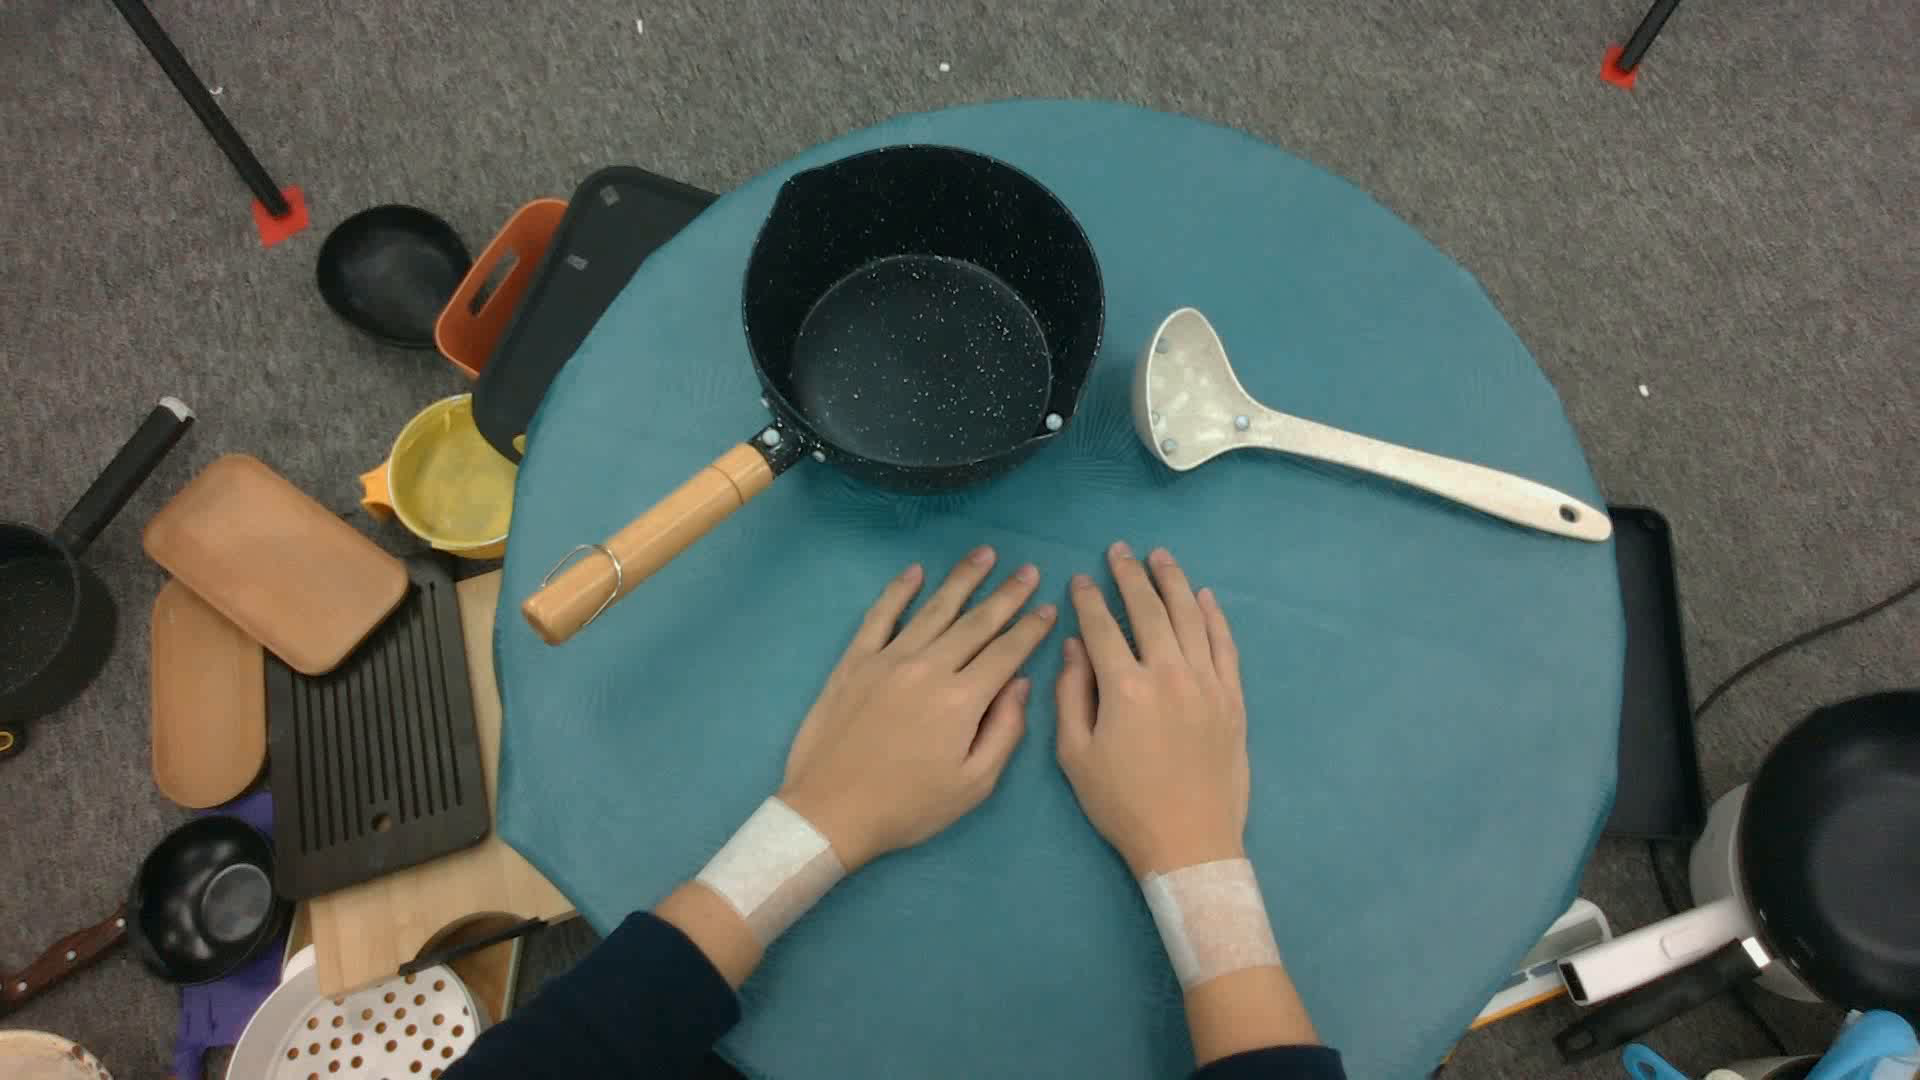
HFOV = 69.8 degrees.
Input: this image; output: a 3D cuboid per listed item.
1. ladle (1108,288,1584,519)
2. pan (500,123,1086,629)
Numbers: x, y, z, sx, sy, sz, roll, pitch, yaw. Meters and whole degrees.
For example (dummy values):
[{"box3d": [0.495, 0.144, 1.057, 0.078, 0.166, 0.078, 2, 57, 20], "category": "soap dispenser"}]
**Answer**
[{"box3d": [0.213, -0.064, 0.735, 0.275, 0.069, 0.089, 15, 67, 2], "category": "ladle"}, {"box3d": [-0.083, -0.066, 0.698, 0.207, 0.108, 0.344, 41, 72, 9], "category": "pan"}]
